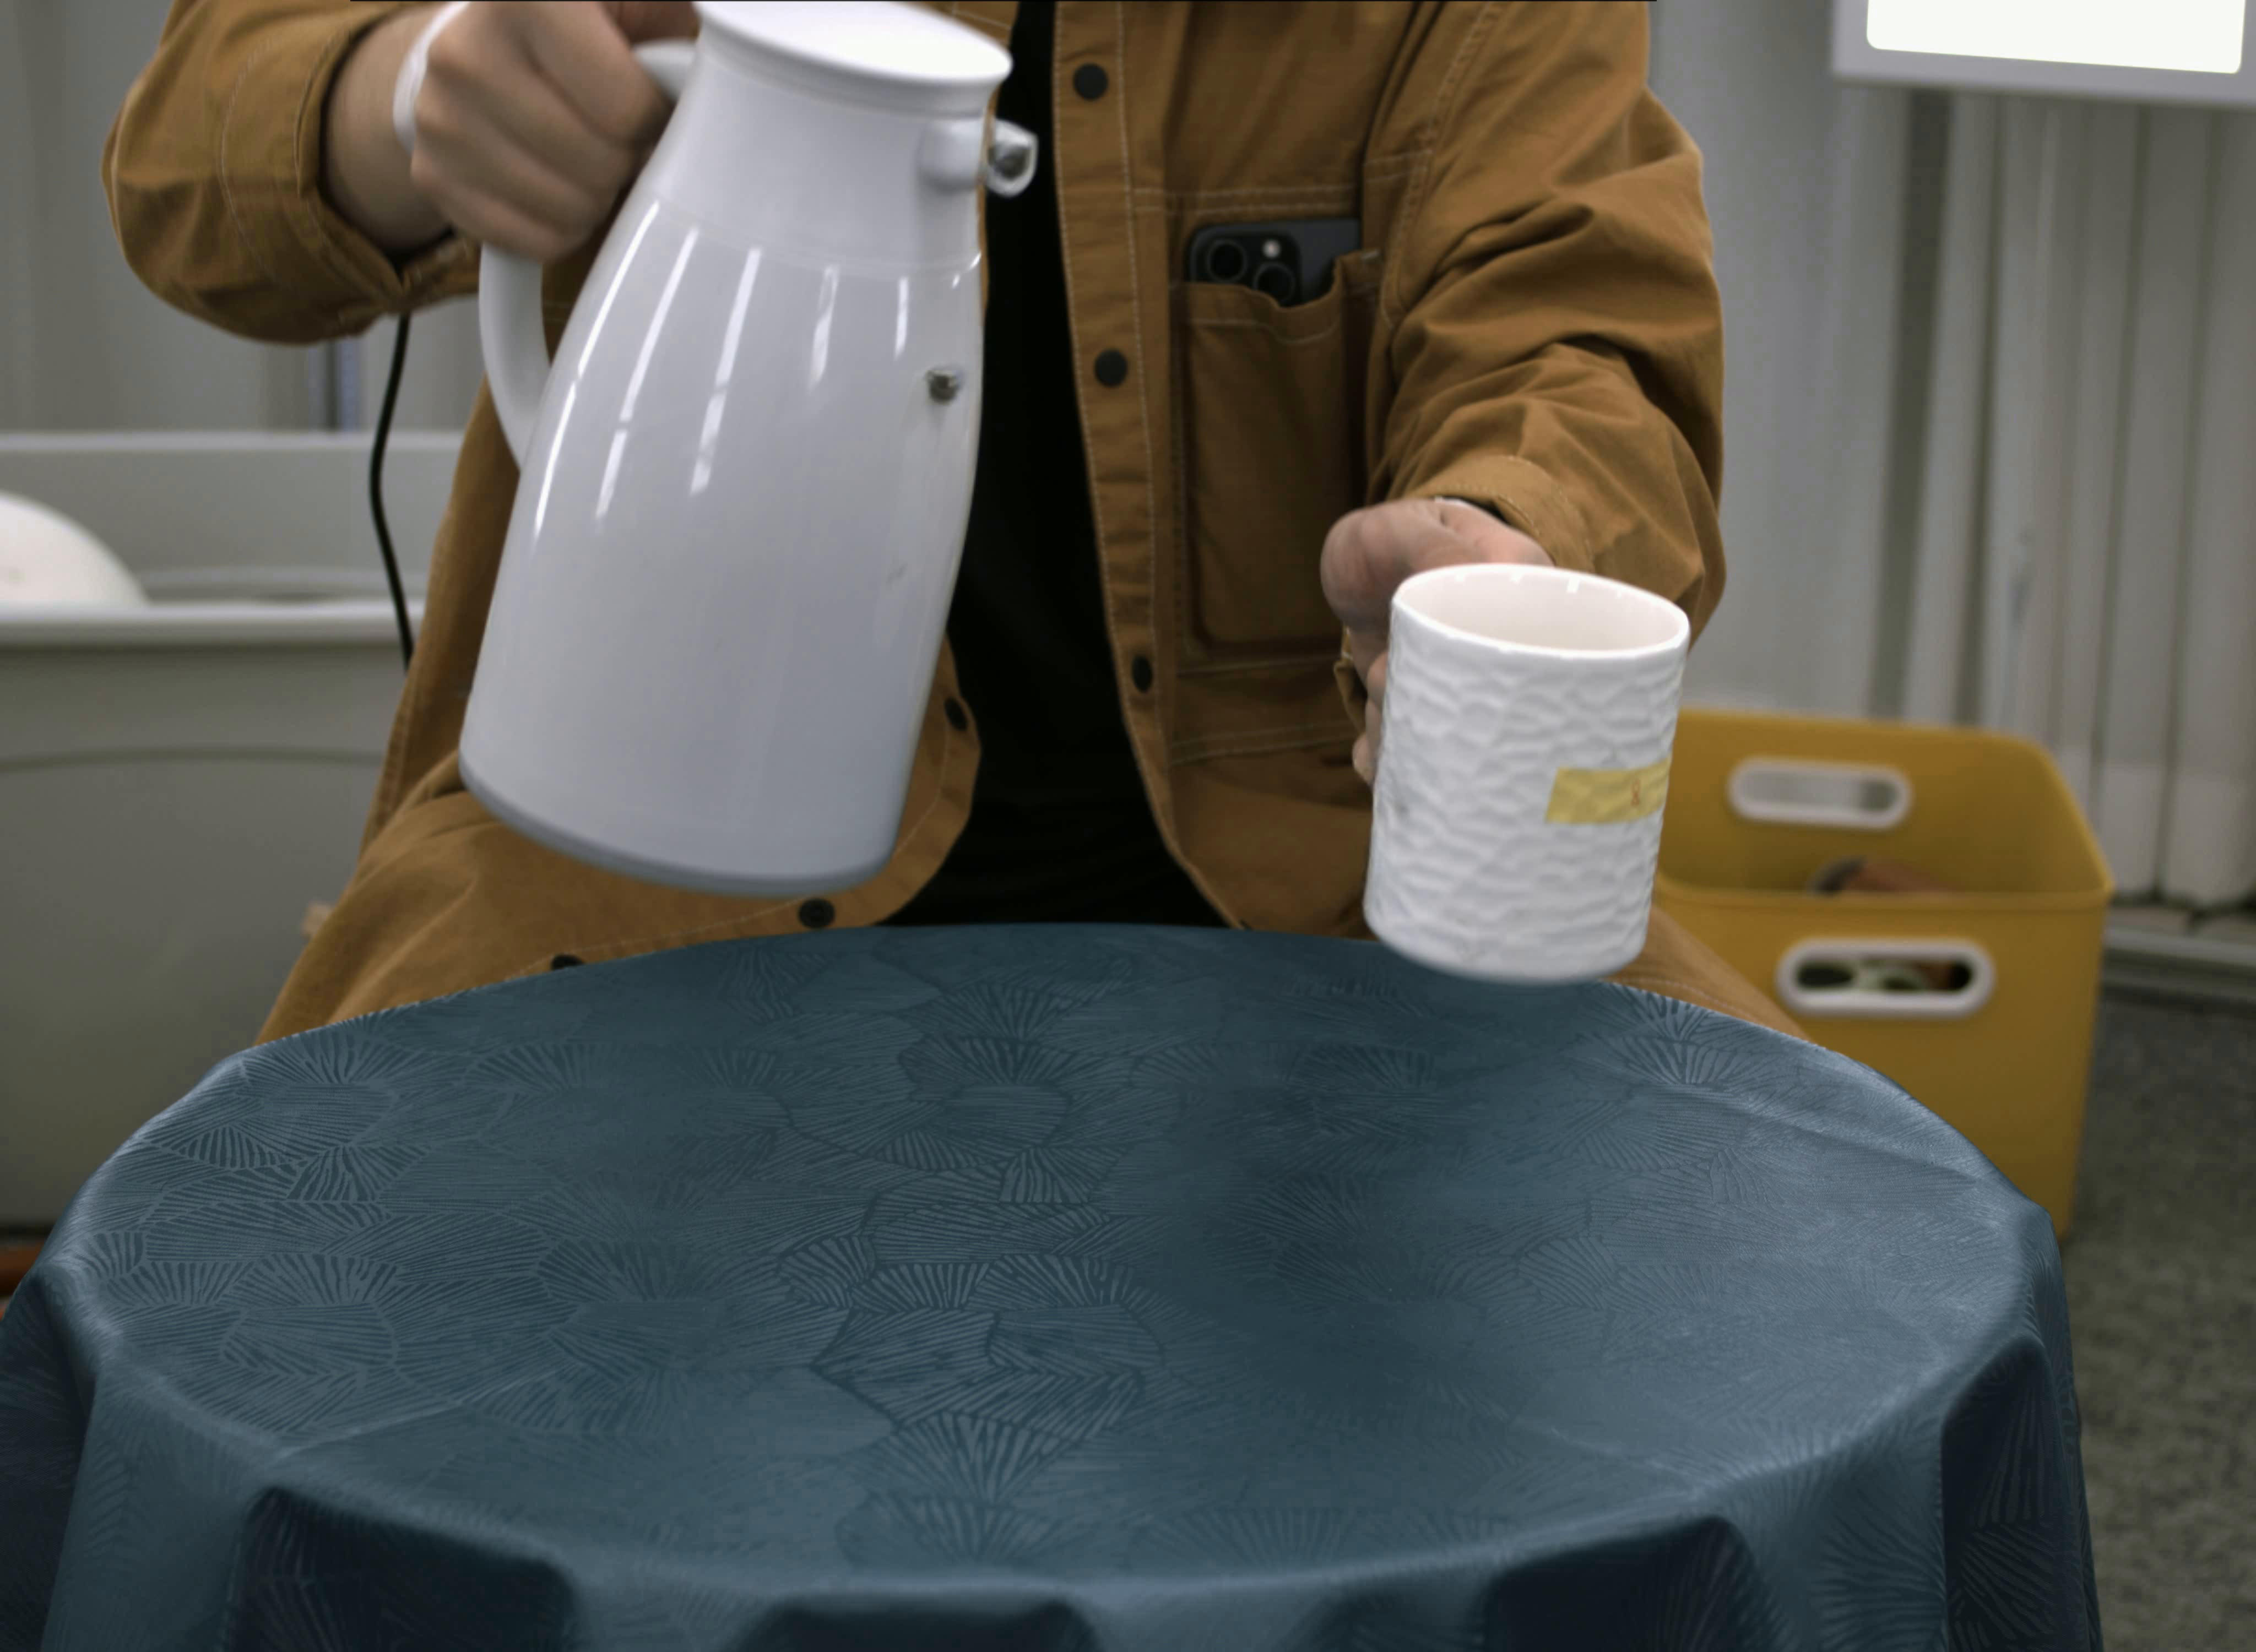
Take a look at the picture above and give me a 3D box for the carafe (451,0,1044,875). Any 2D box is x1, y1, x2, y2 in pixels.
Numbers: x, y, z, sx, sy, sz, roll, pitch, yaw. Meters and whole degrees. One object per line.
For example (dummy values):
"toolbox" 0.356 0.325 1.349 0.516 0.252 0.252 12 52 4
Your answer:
"carafe" -0.120 -0.132 1.509 0.166 0.250 0.133 24 23 22

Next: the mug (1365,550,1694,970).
"mug" 0.109 -0.024 1.530 0.085 0.103 0.117 -1 20 -21
